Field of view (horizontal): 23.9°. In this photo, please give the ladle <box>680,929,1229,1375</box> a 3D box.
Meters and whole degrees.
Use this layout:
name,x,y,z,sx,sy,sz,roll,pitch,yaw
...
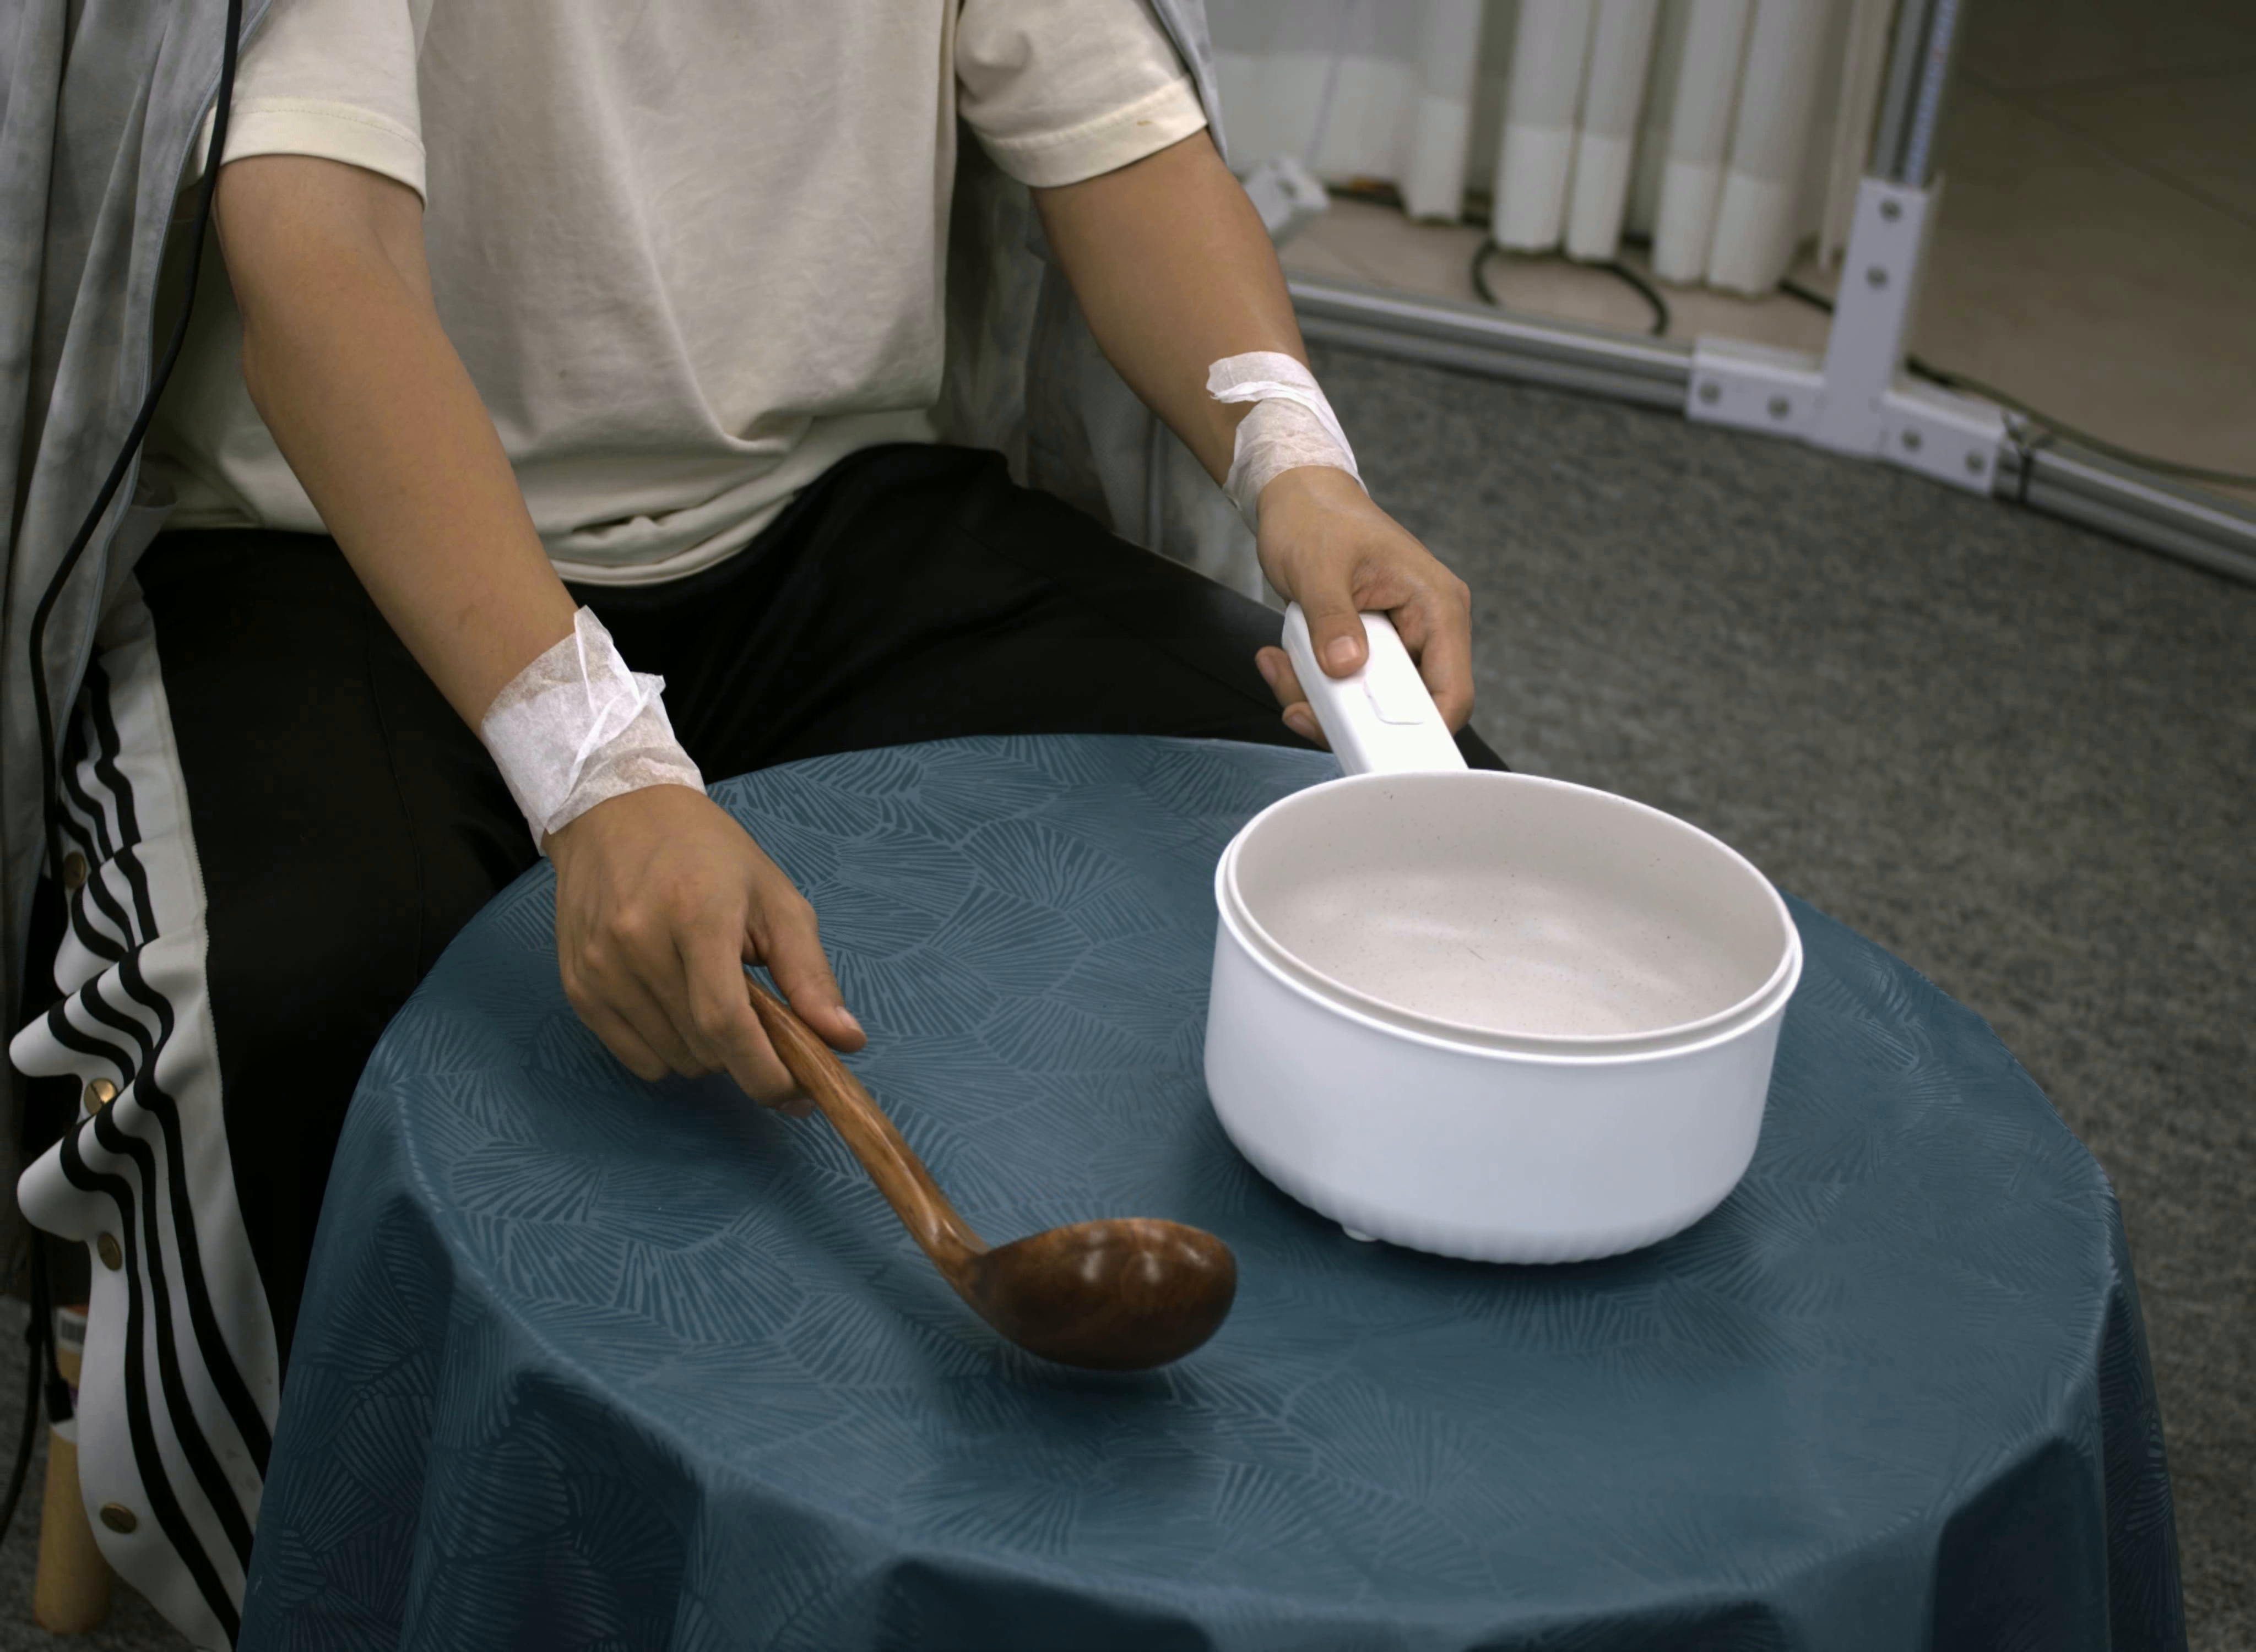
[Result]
name,x,y,z,sx,sy,sz,roll,pitch,yaw
ladle,-0.061,0.090,1.747,0.076,0.081,0.276,-43,46,1

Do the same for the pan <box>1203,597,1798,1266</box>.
name,x,y,z,sx,sy,sz,roll,pitch,yaw
pan,0.110,0.035,1.898,0.200,0.102,0.357,-1,27,-12
